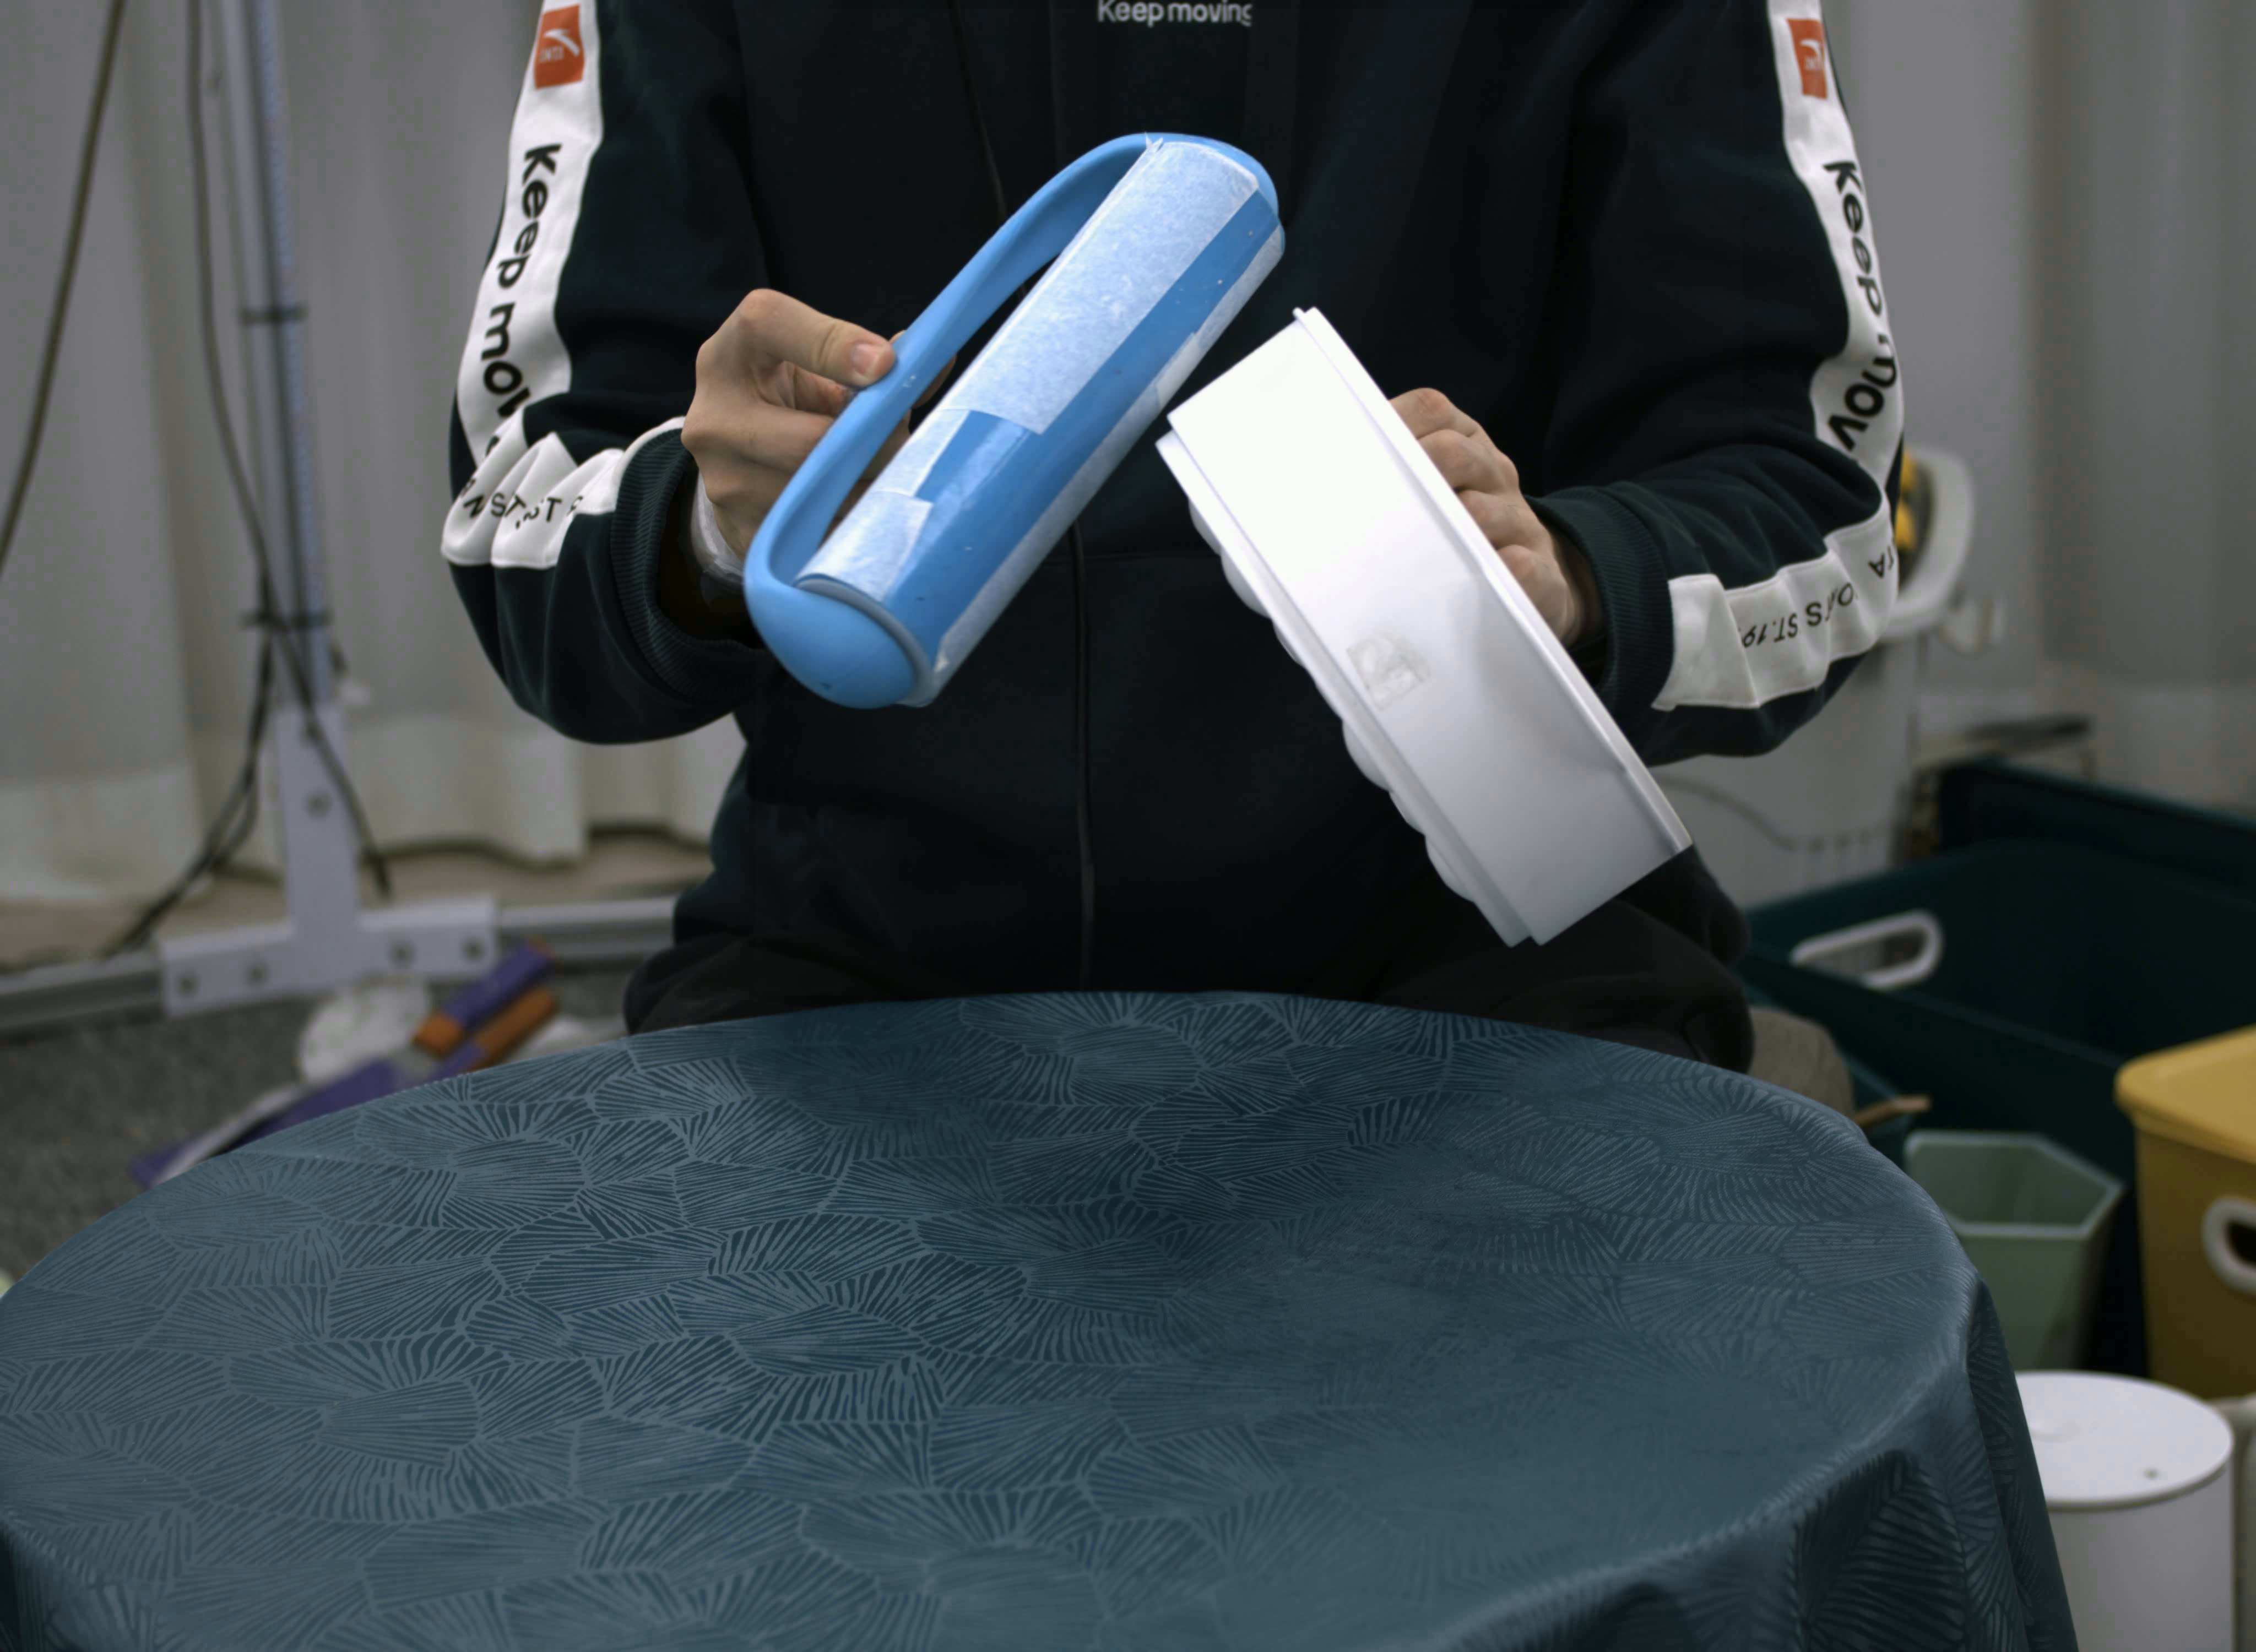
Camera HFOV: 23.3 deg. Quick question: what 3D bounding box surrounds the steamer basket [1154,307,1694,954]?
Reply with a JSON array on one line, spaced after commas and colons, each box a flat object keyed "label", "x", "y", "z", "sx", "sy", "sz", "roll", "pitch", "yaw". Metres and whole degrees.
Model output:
[{"label": "steamer basket", "x": 0.085, "y": -0.054, "z": 1.623, "sx": 0.069, "sy": 0.200, "sz": 0.232, "roll": -35, "pitch": 18, "yaw": 2}]

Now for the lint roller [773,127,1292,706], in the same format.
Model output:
[{"label": "lint roller", "x": -0.056, "y": -0.115, "z": 1.686, "sx": 0.180, "sy": 0.067, "sz": 0.231, "roll": -16, "pitch": 35, "yaw": 52}]
